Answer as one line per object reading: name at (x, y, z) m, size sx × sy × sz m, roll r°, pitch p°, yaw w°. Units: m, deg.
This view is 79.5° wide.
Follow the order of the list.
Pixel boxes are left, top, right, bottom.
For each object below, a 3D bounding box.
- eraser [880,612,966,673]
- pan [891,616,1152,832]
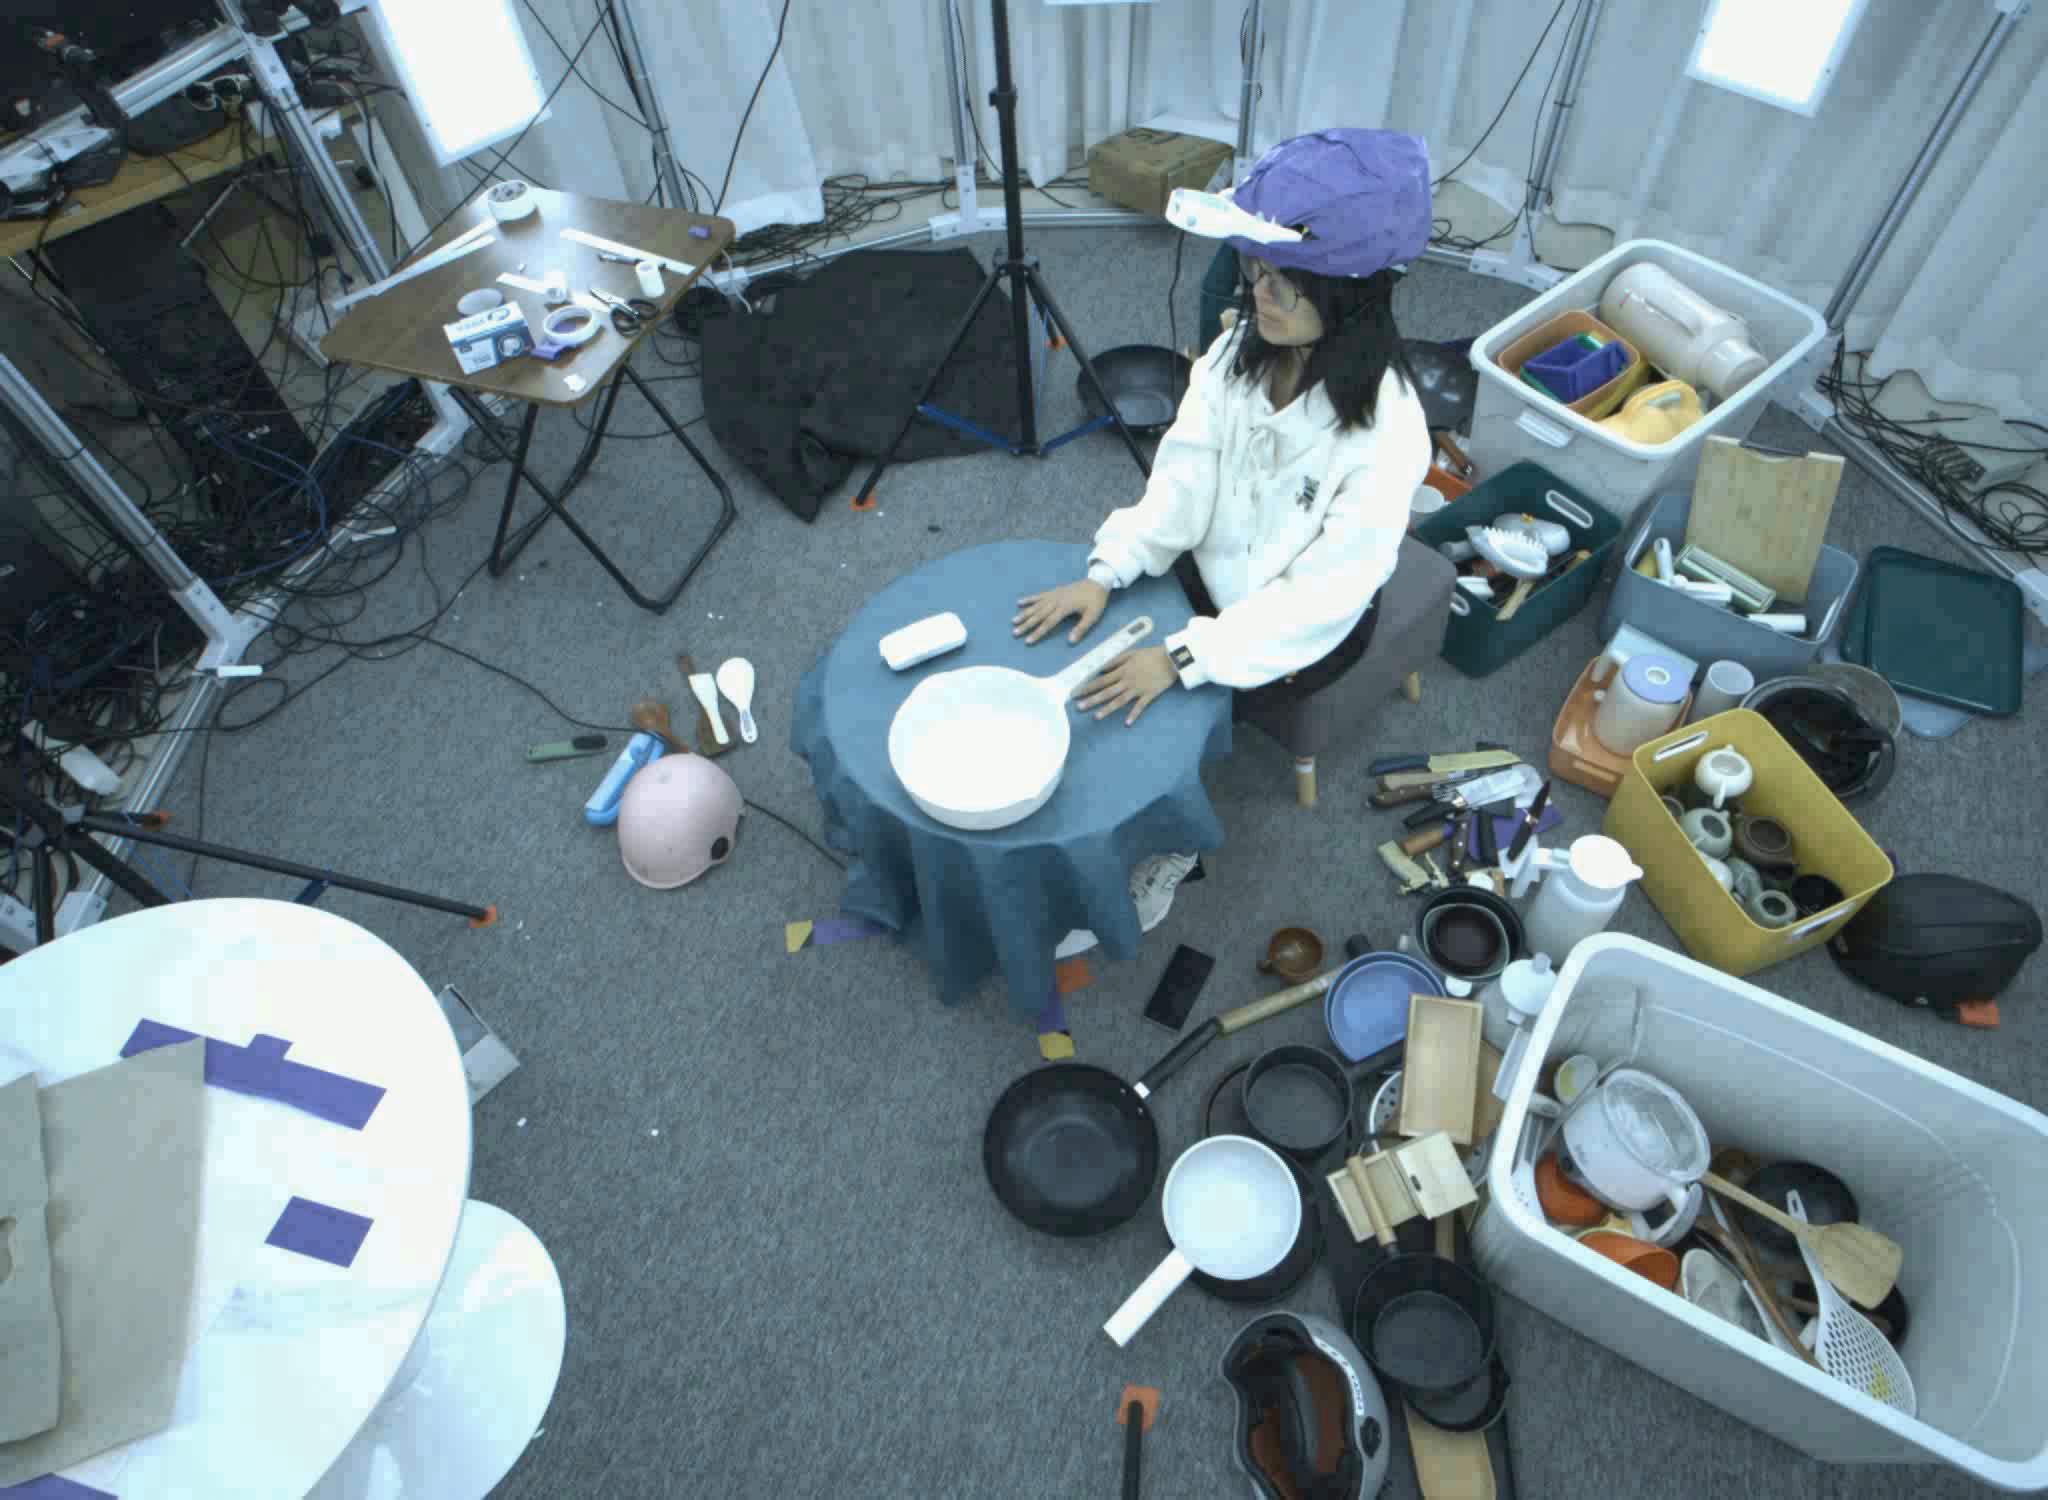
eraser at (-0.155, -0.166, 1.892) m, size 0.132 × 0.035 × 0.062 m, roll -24°, pitch 60°, yaw -14°
pan at (0.016, -0.047, 1.758) m, size 0.438 × 0.103 × 0.258 m, roll -34°, pitch 59°, yaw -19°
